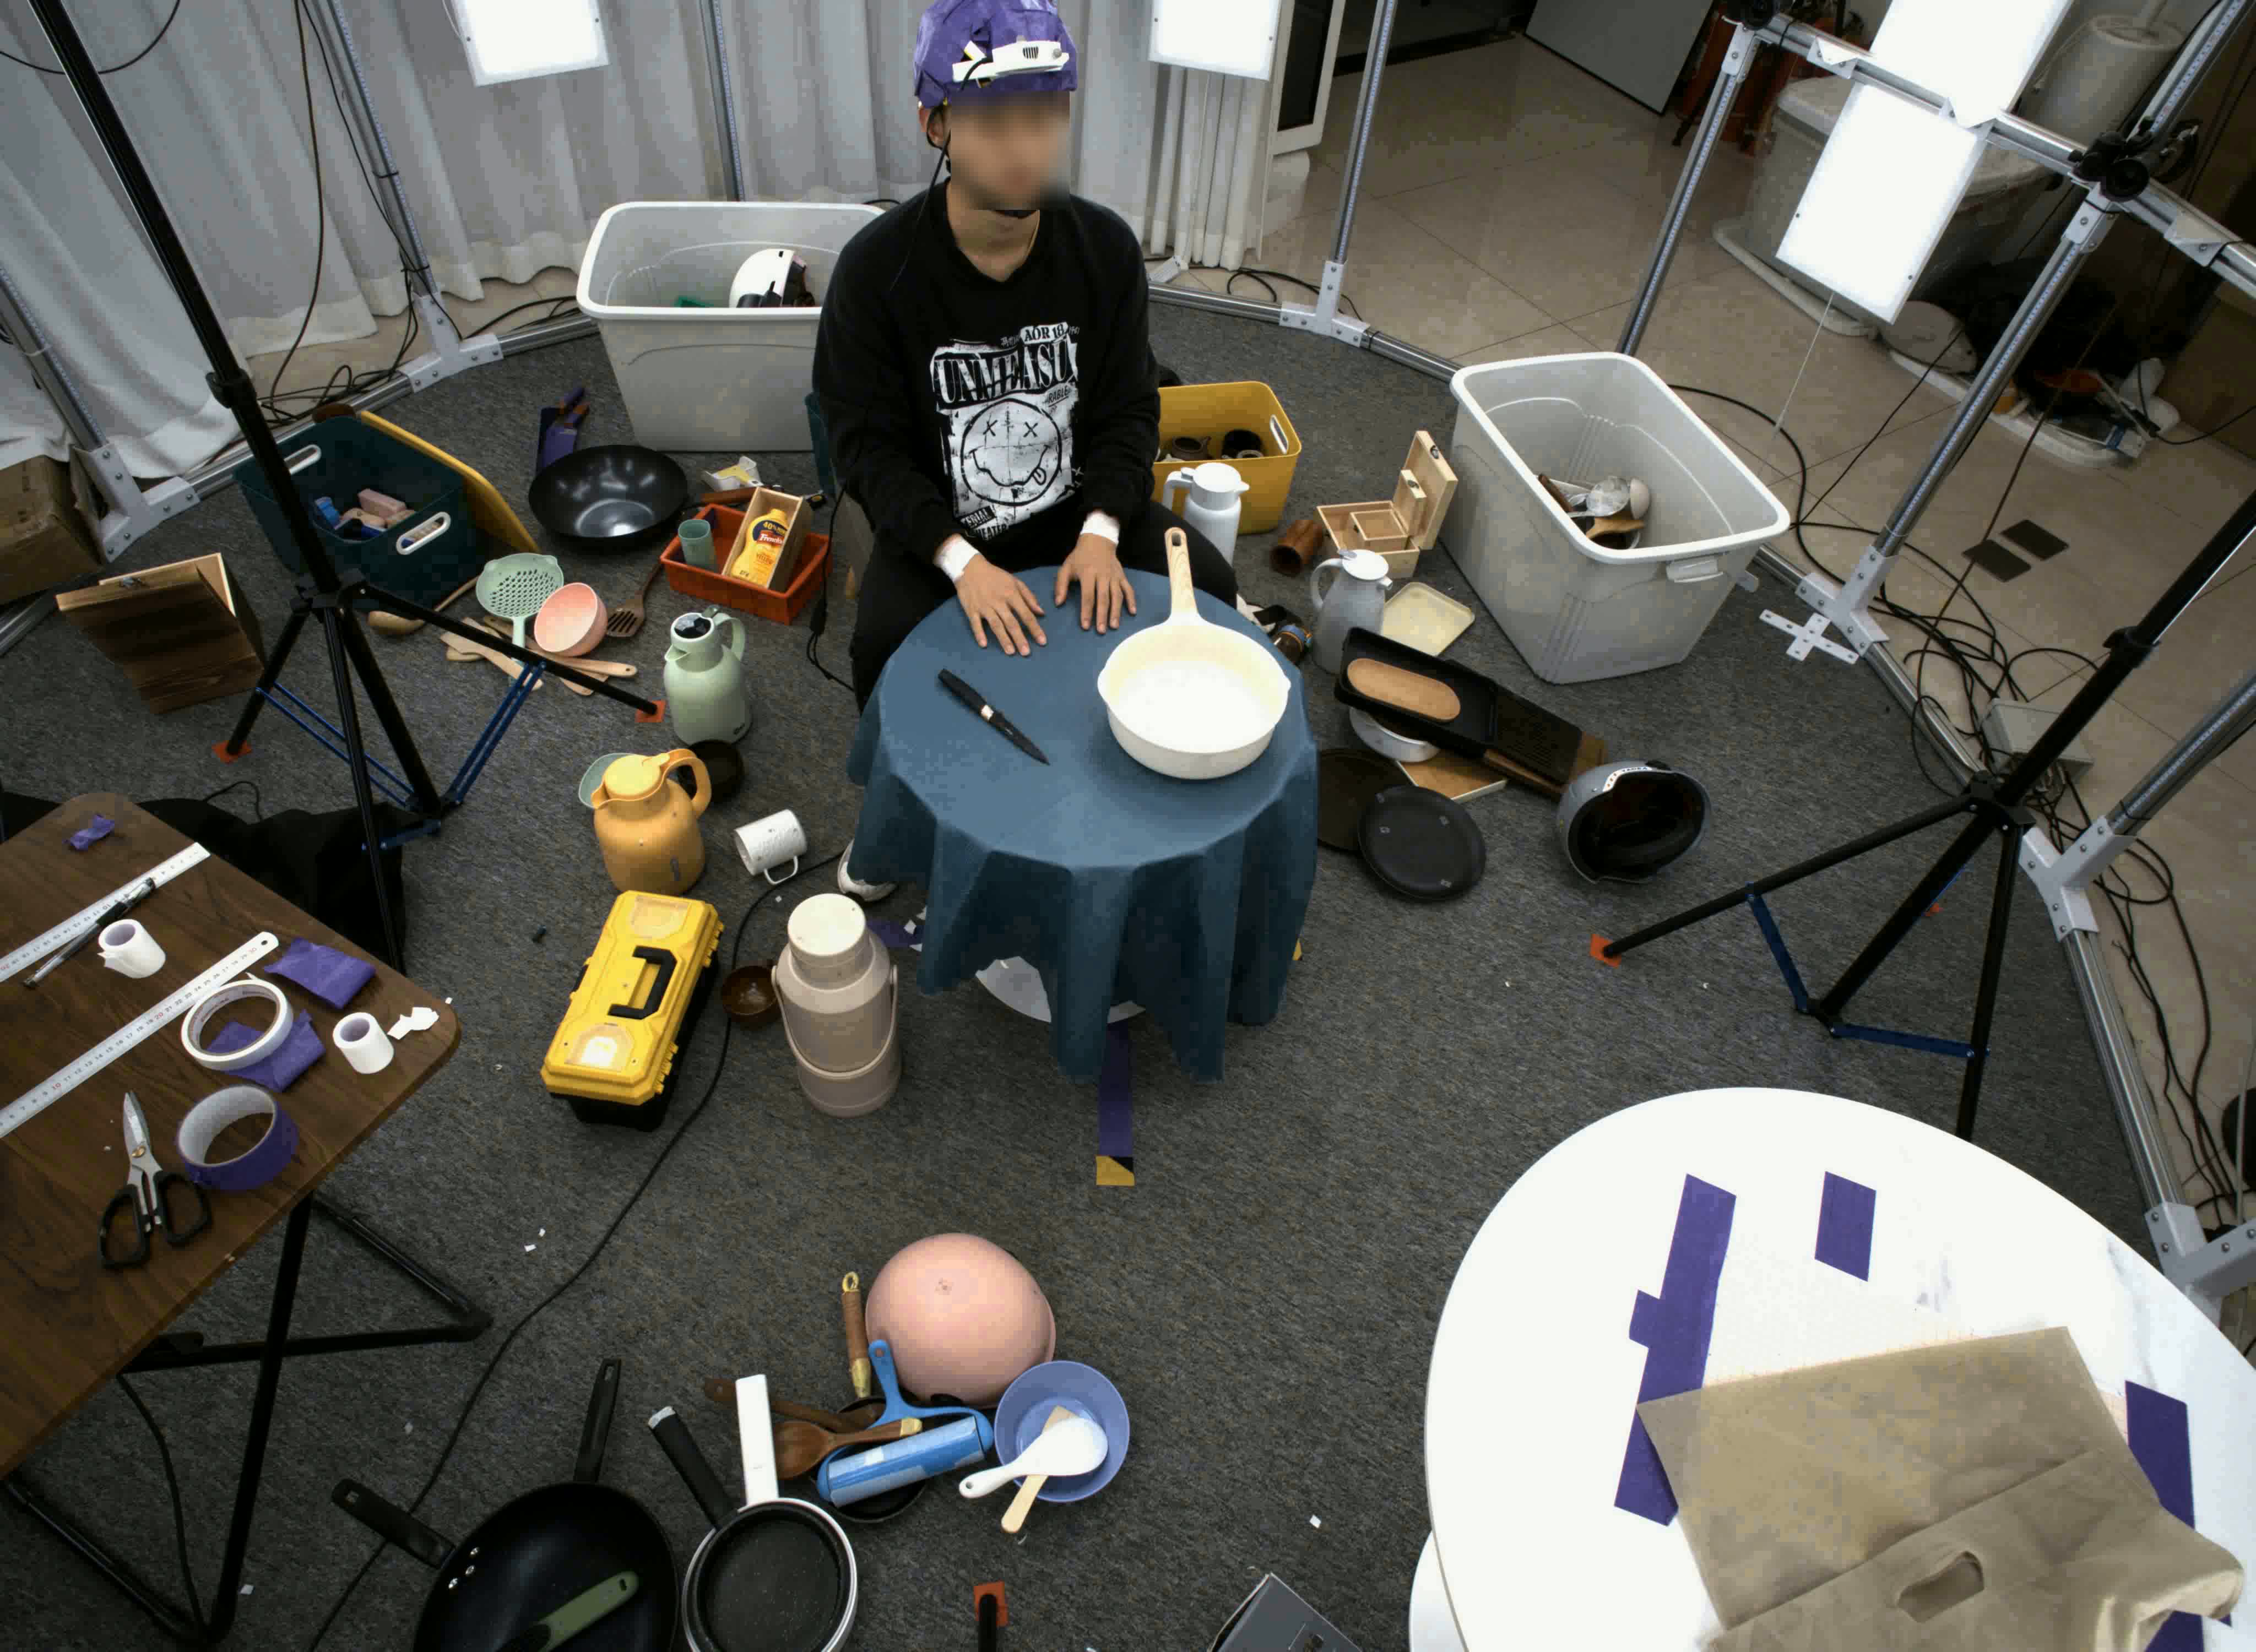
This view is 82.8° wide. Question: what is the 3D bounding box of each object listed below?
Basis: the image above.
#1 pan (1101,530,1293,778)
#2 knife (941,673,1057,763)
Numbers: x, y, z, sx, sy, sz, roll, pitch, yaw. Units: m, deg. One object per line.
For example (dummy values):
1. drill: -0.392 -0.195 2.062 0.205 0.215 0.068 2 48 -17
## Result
1. pan: 0.086 -0.244 1.822 0.263 0.099 0.446 -3 49 -4
2. knife: -0.181 -0.150 1.782 0.229 0.017 0.026 40 42 26
